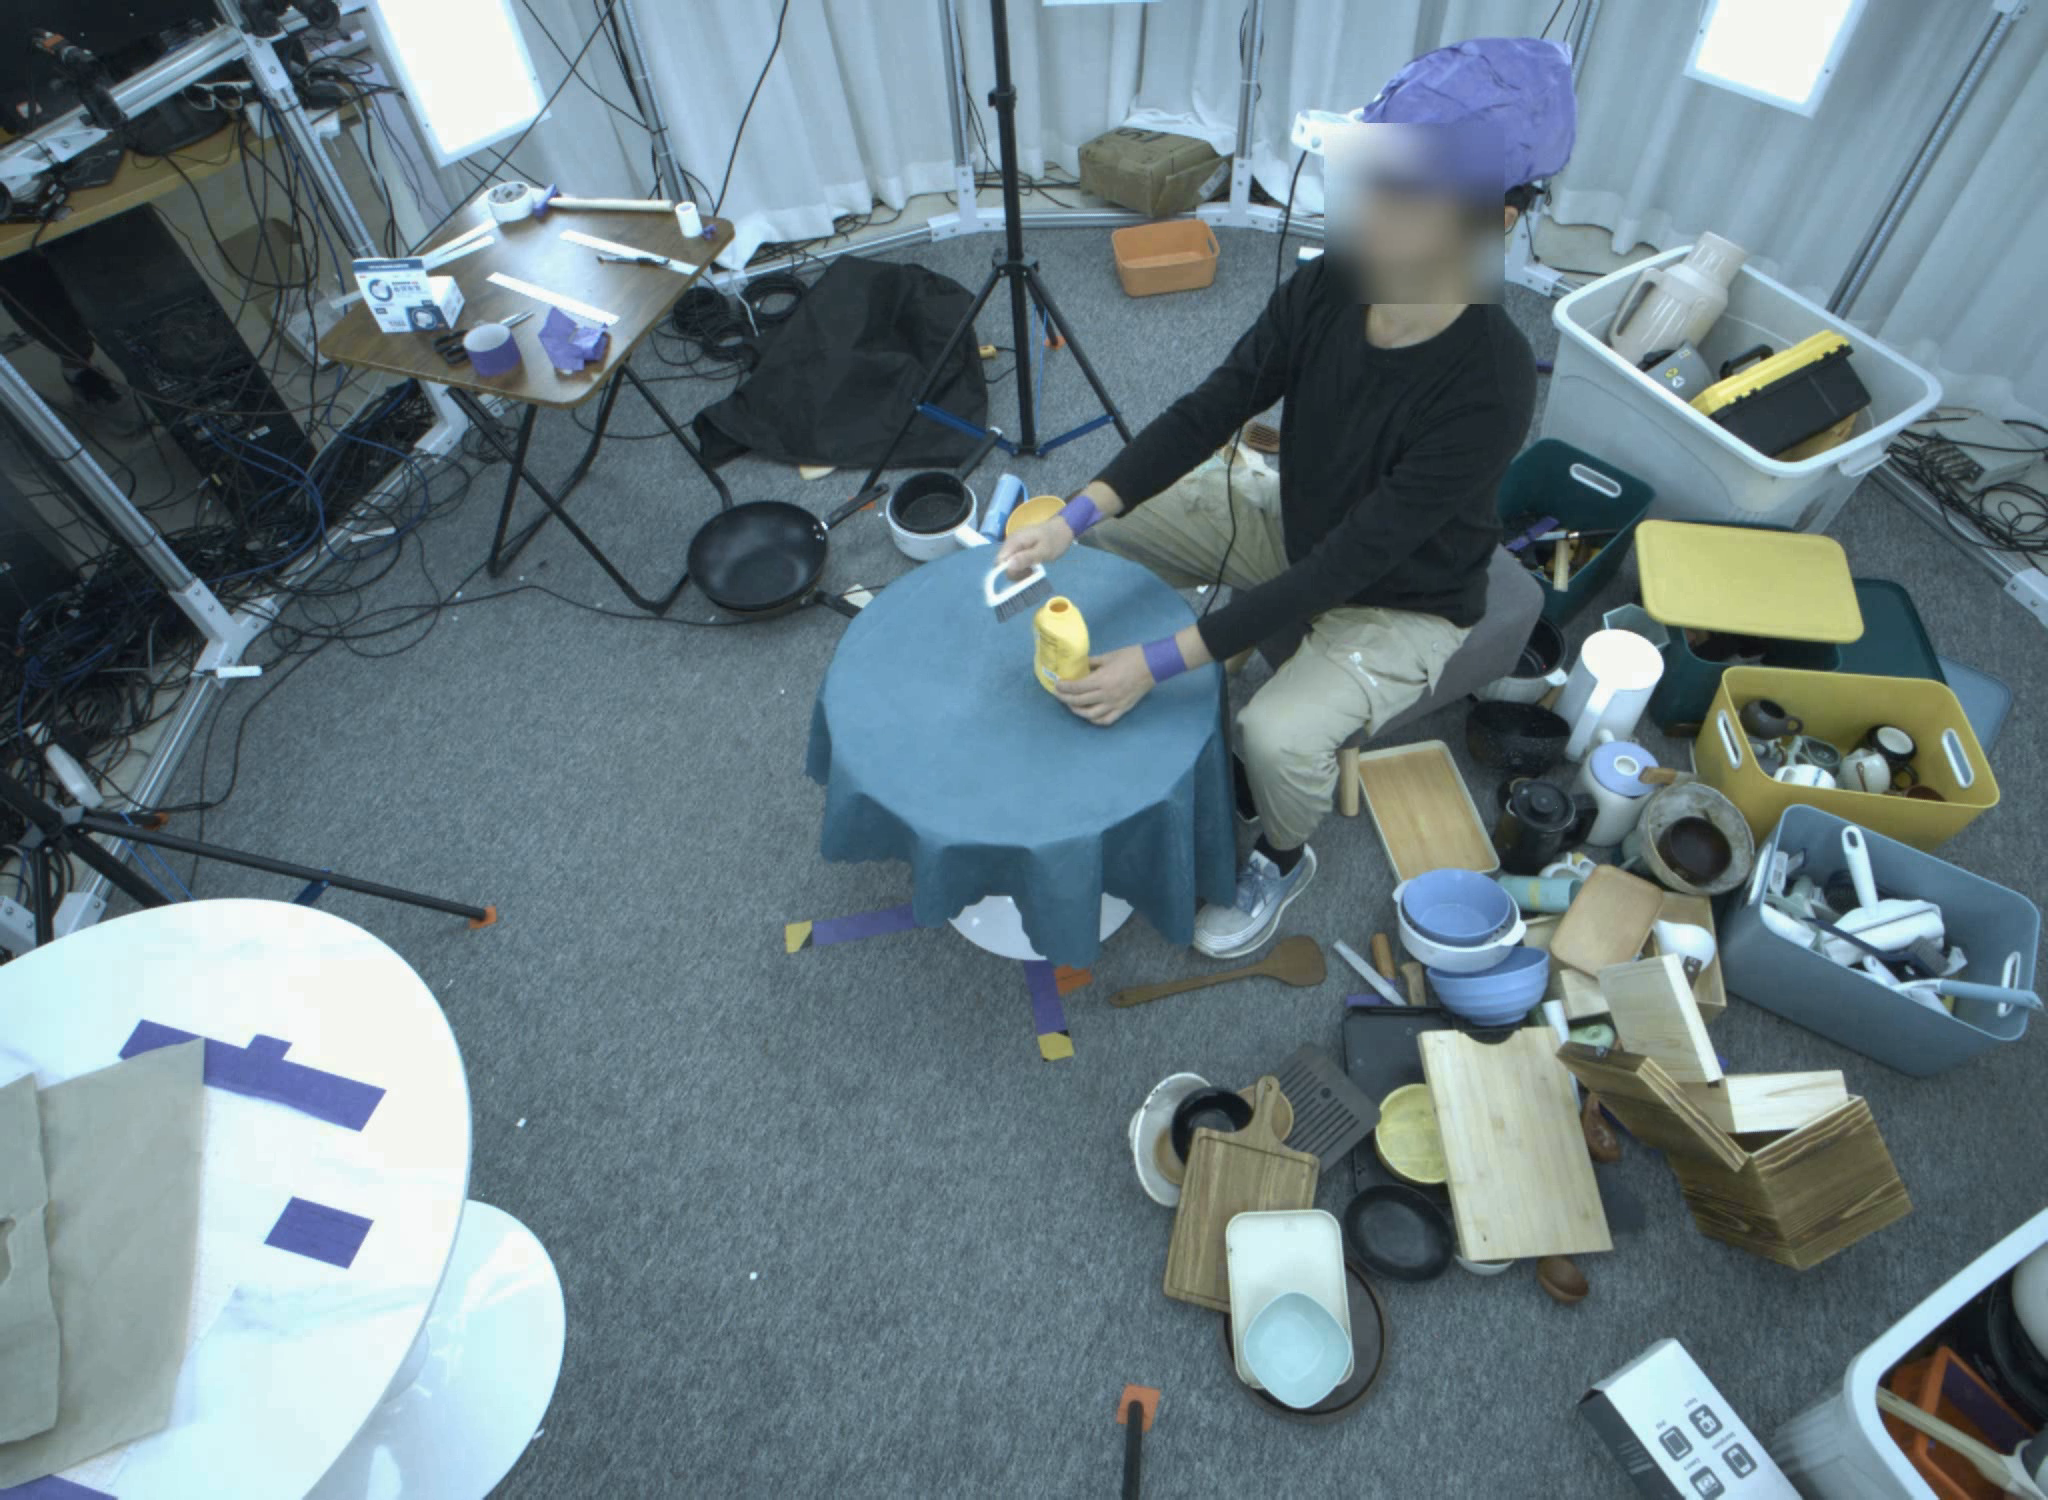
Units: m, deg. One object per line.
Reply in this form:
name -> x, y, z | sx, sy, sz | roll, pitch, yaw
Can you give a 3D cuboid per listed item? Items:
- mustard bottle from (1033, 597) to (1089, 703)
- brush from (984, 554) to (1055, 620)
mustard bottle -> 0.052, -0.153, 1.792 | 0.096, 0.174, 0.060 | 36, 62, 27
brush -> -0.013, -0.239, 1.757 | 0.100, 0.049, 0.073 | -34, 103, -19
